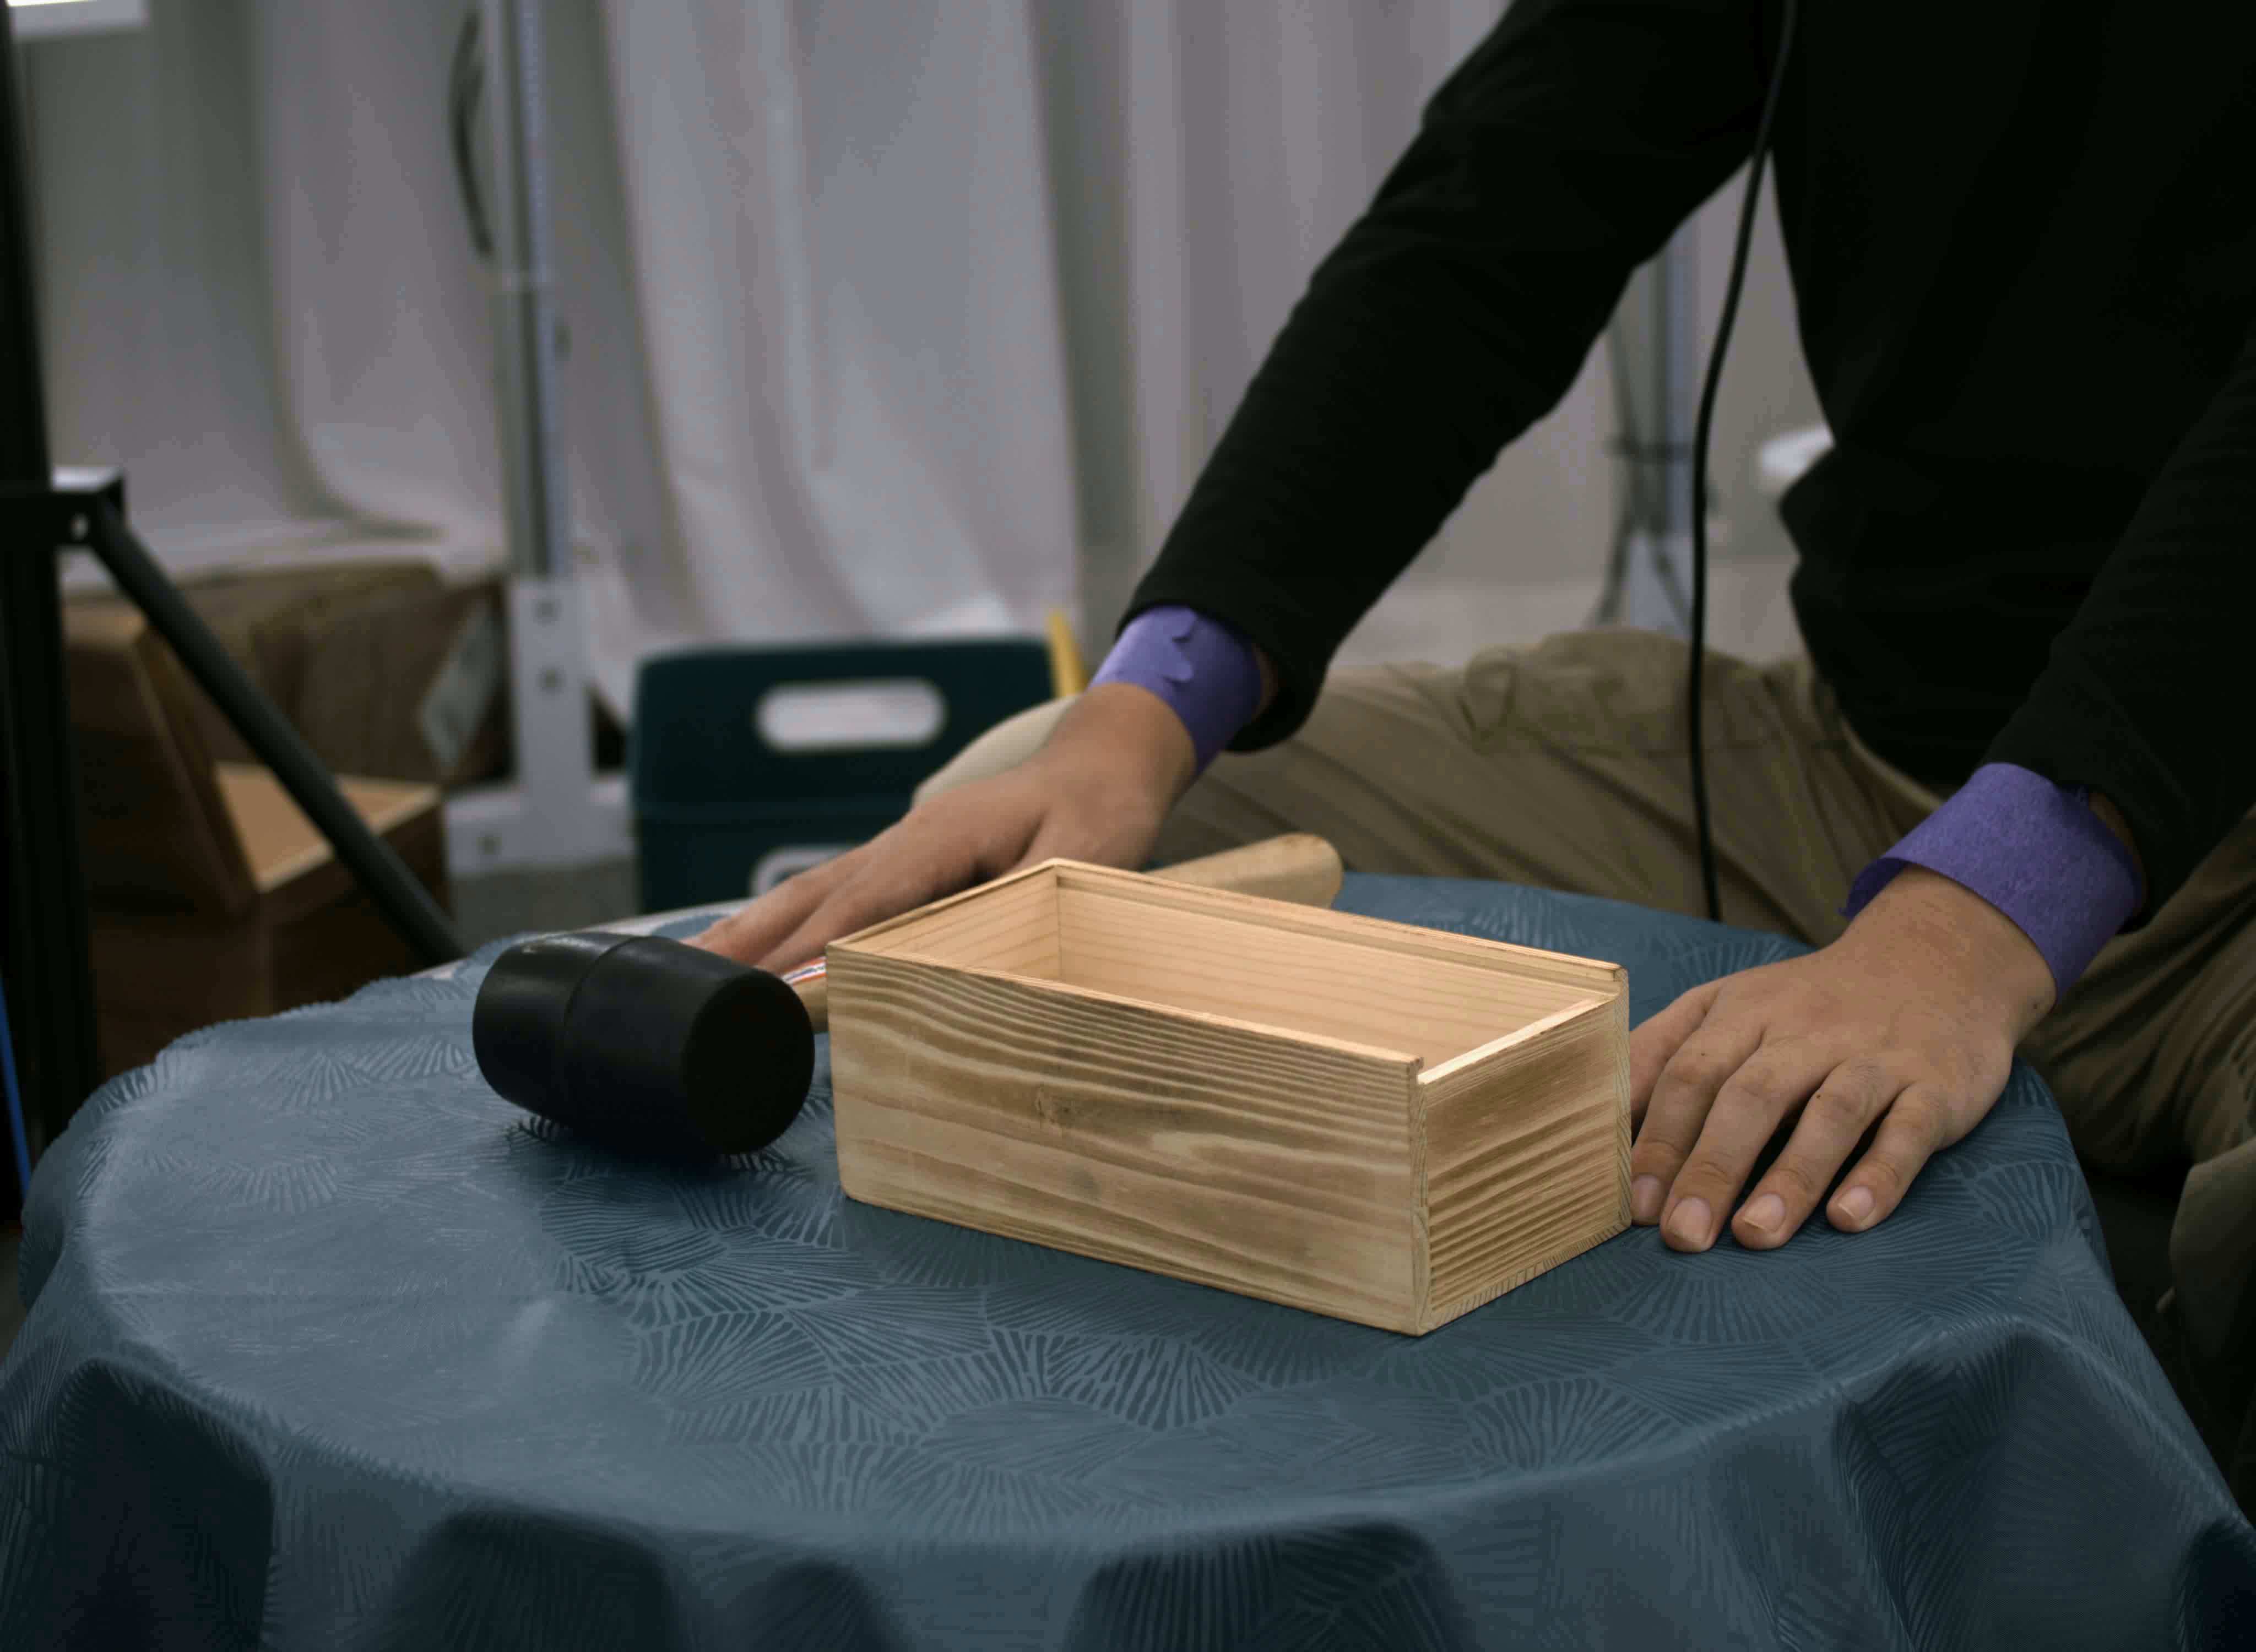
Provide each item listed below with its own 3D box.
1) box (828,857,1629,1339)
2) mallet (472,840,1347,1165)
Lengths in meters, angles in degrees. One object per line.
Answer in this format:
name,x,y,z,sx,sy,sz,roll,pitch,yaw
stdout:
box,0.028,0.074,1.523,0.216,0.080,0.105,11,20,39
mallet,-0.053,0.037,1.706,0.331,0.064,0.104,-17,22,-42
